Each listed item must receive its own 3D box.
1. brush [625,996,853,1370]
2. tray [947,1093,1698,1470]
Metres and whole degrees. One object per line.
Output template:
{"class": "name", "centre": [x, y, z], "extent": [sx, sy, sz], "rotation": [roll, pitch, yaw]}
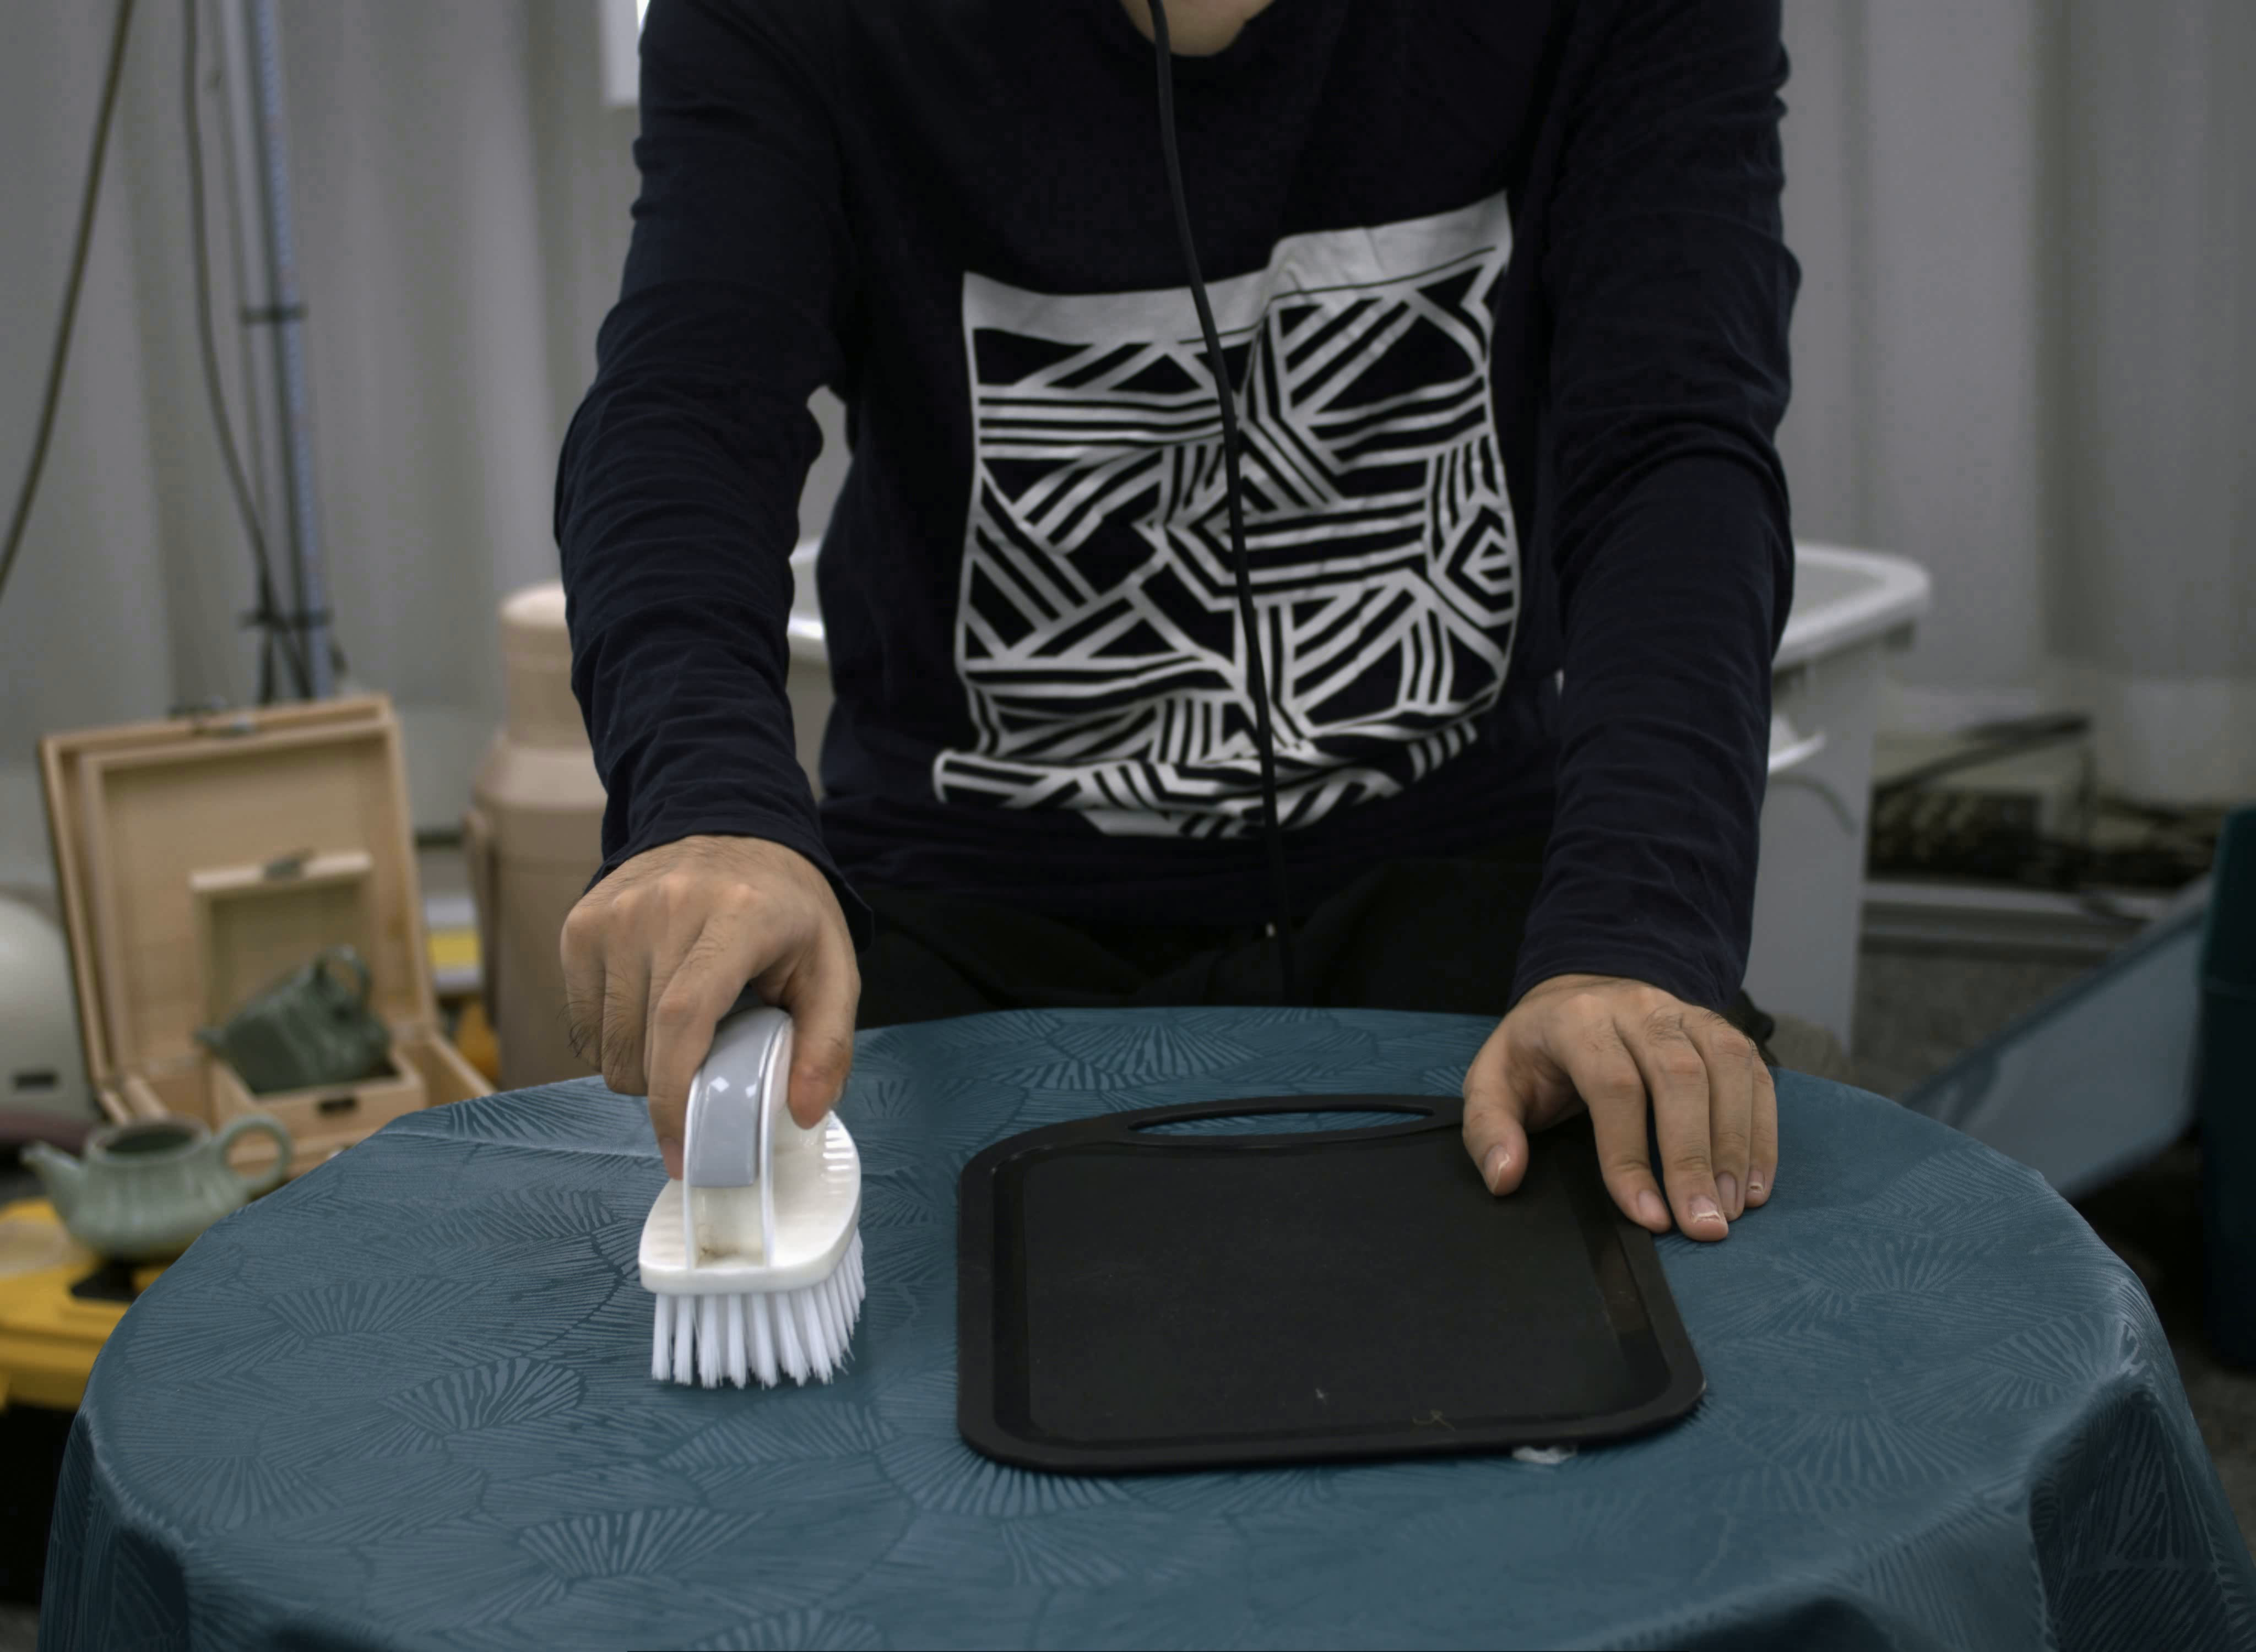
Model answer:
{"class": "brush", "centre": [-0.111, 0.095, 1.632], "extent": [0.061, 0.094, 0.176], "rotation": [-1, 13, 5]}
{"class": "tray", "centre": [0.052, 0.129, 1.636], "extent": [0.210, 0.010, 0.327], "rotation": [-3, 15, 0]}
